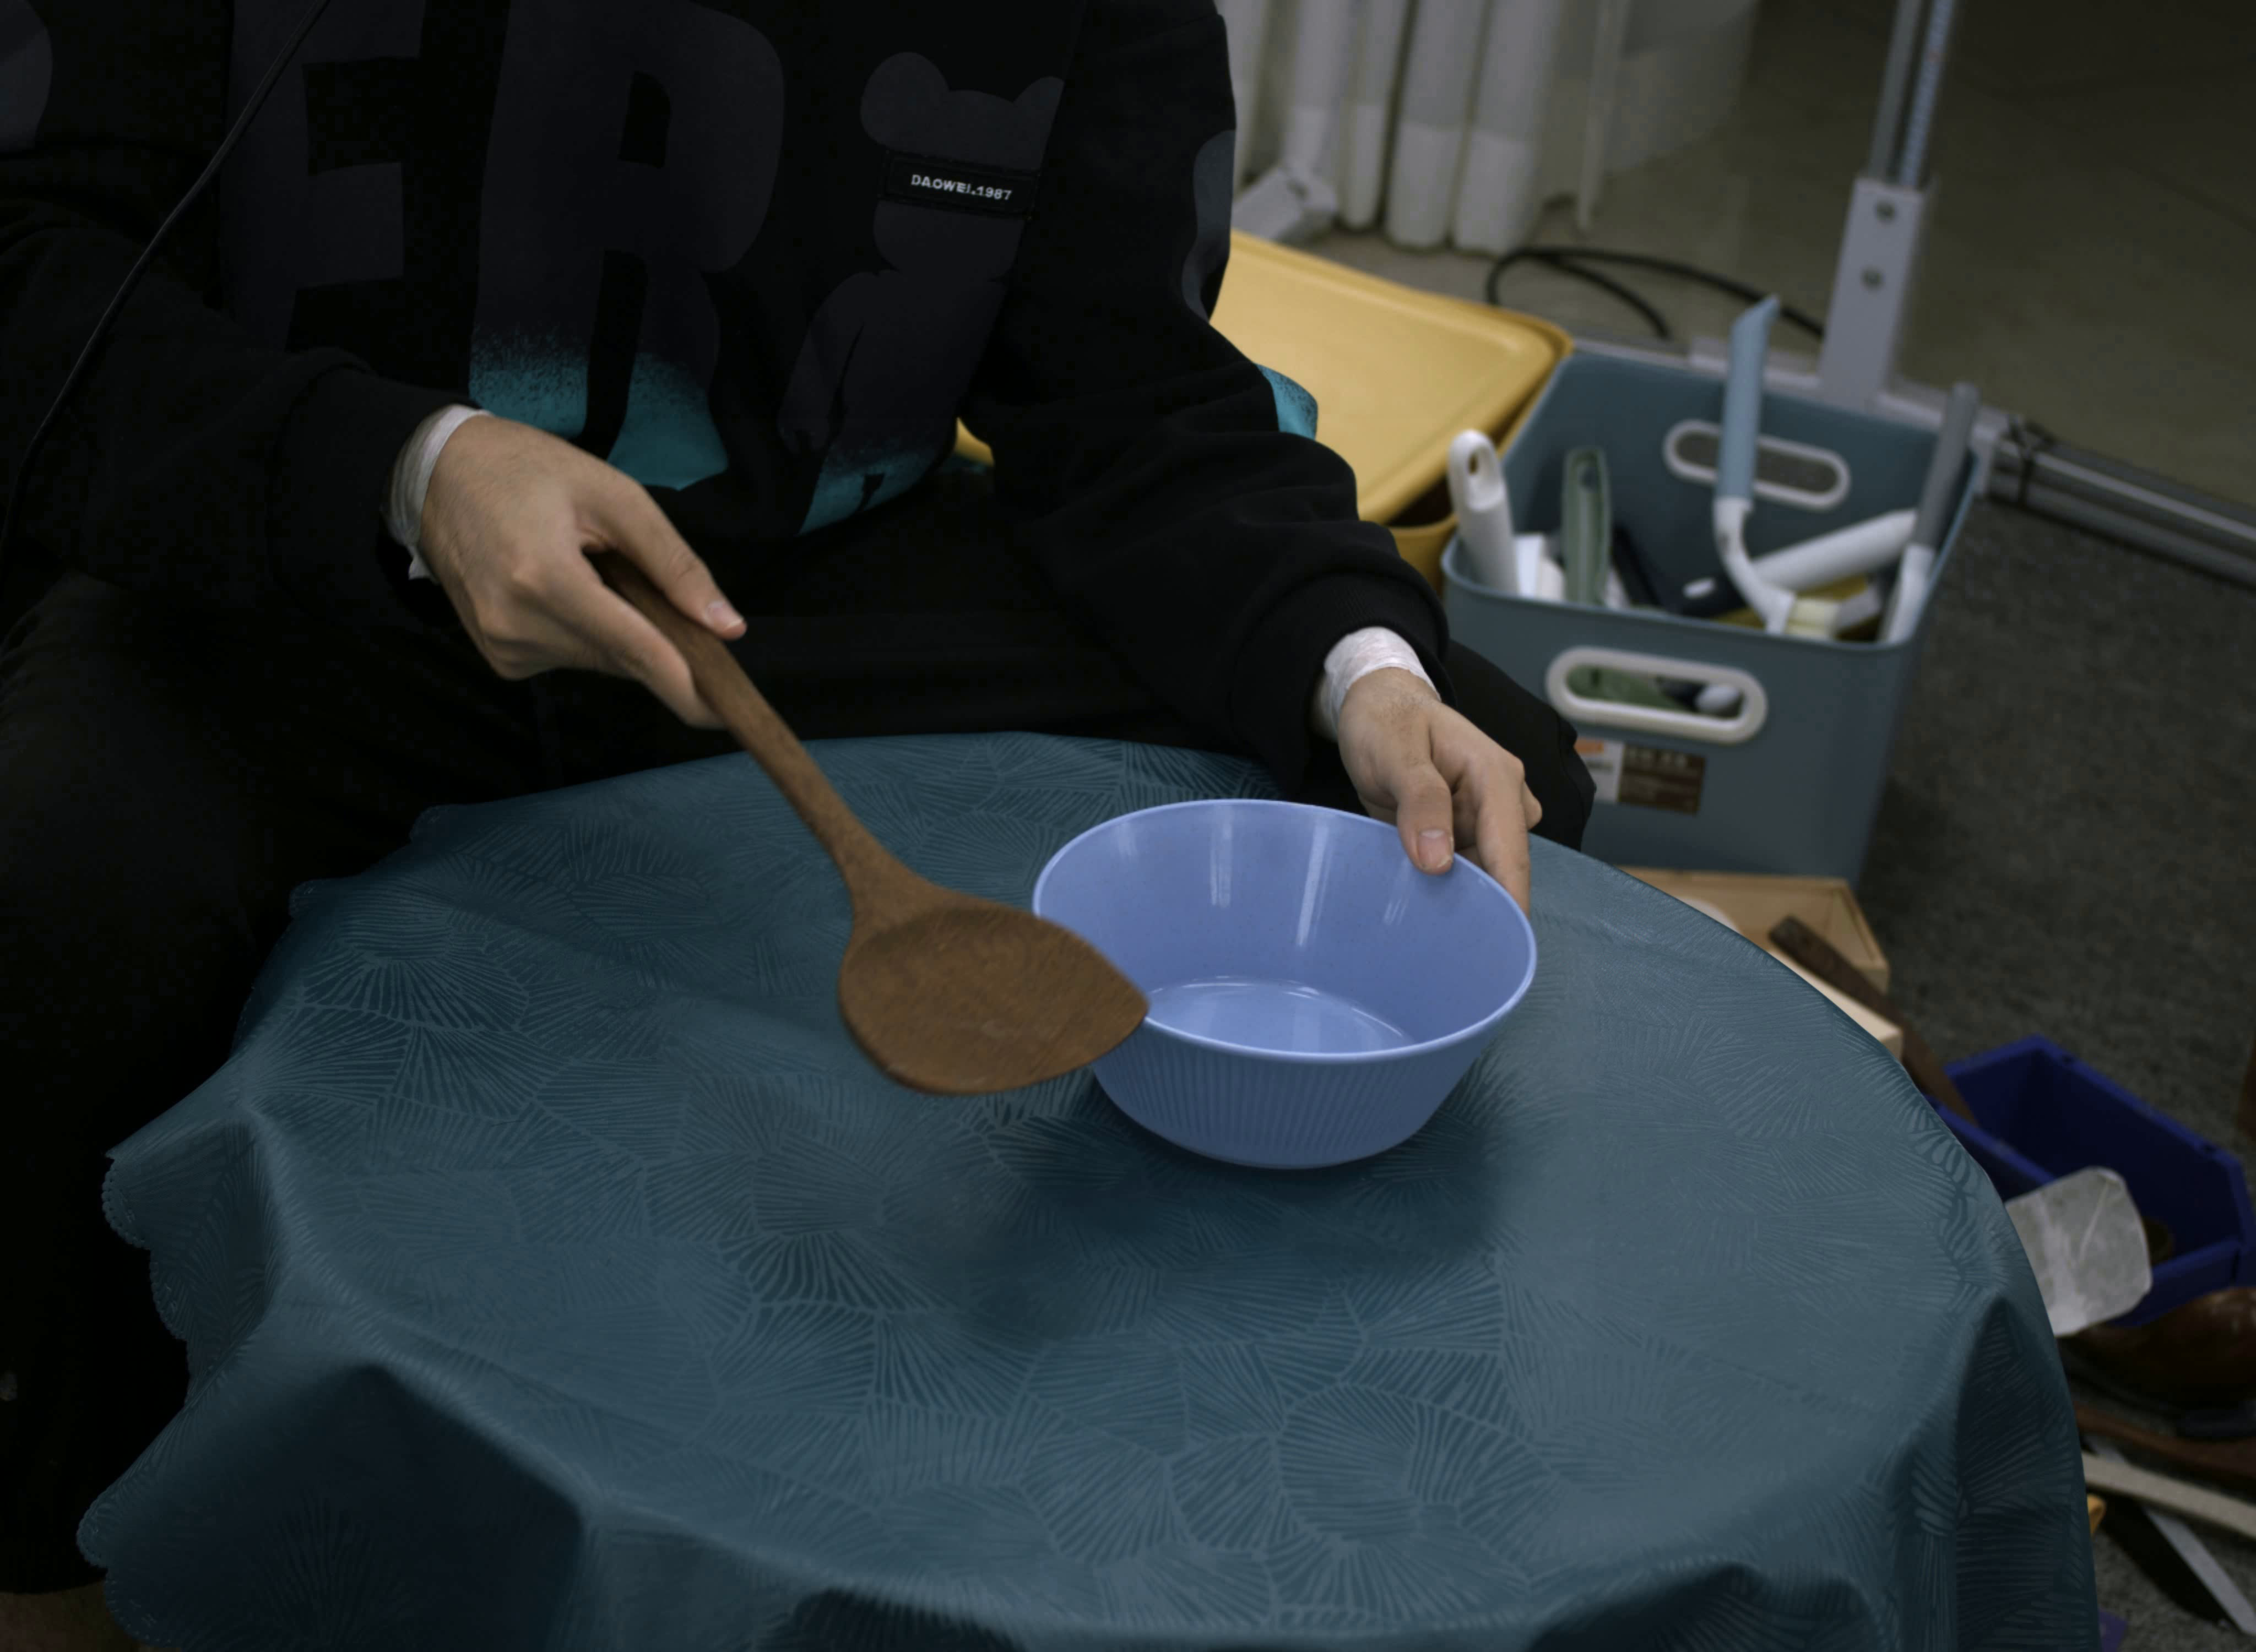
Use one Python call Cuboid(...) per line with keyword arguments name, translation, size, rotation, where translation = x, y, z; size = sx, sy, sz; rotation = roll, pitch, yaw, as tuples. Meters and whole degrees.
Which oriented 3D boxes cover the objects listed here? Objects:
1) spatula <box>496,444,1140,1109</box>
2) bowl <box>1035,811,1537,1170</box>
Cuboid(name="spatula", translation=(-0.126, -0.027, 1.832), size=(0.095, 0.016, 0.389), rotation=(-18, 46, -26))
Cuboid(name="bowl", translation=(0.052, 0.063, 1.852), size=(0.175, 0.070, 0.177), rotation=(5, 27, -3))
